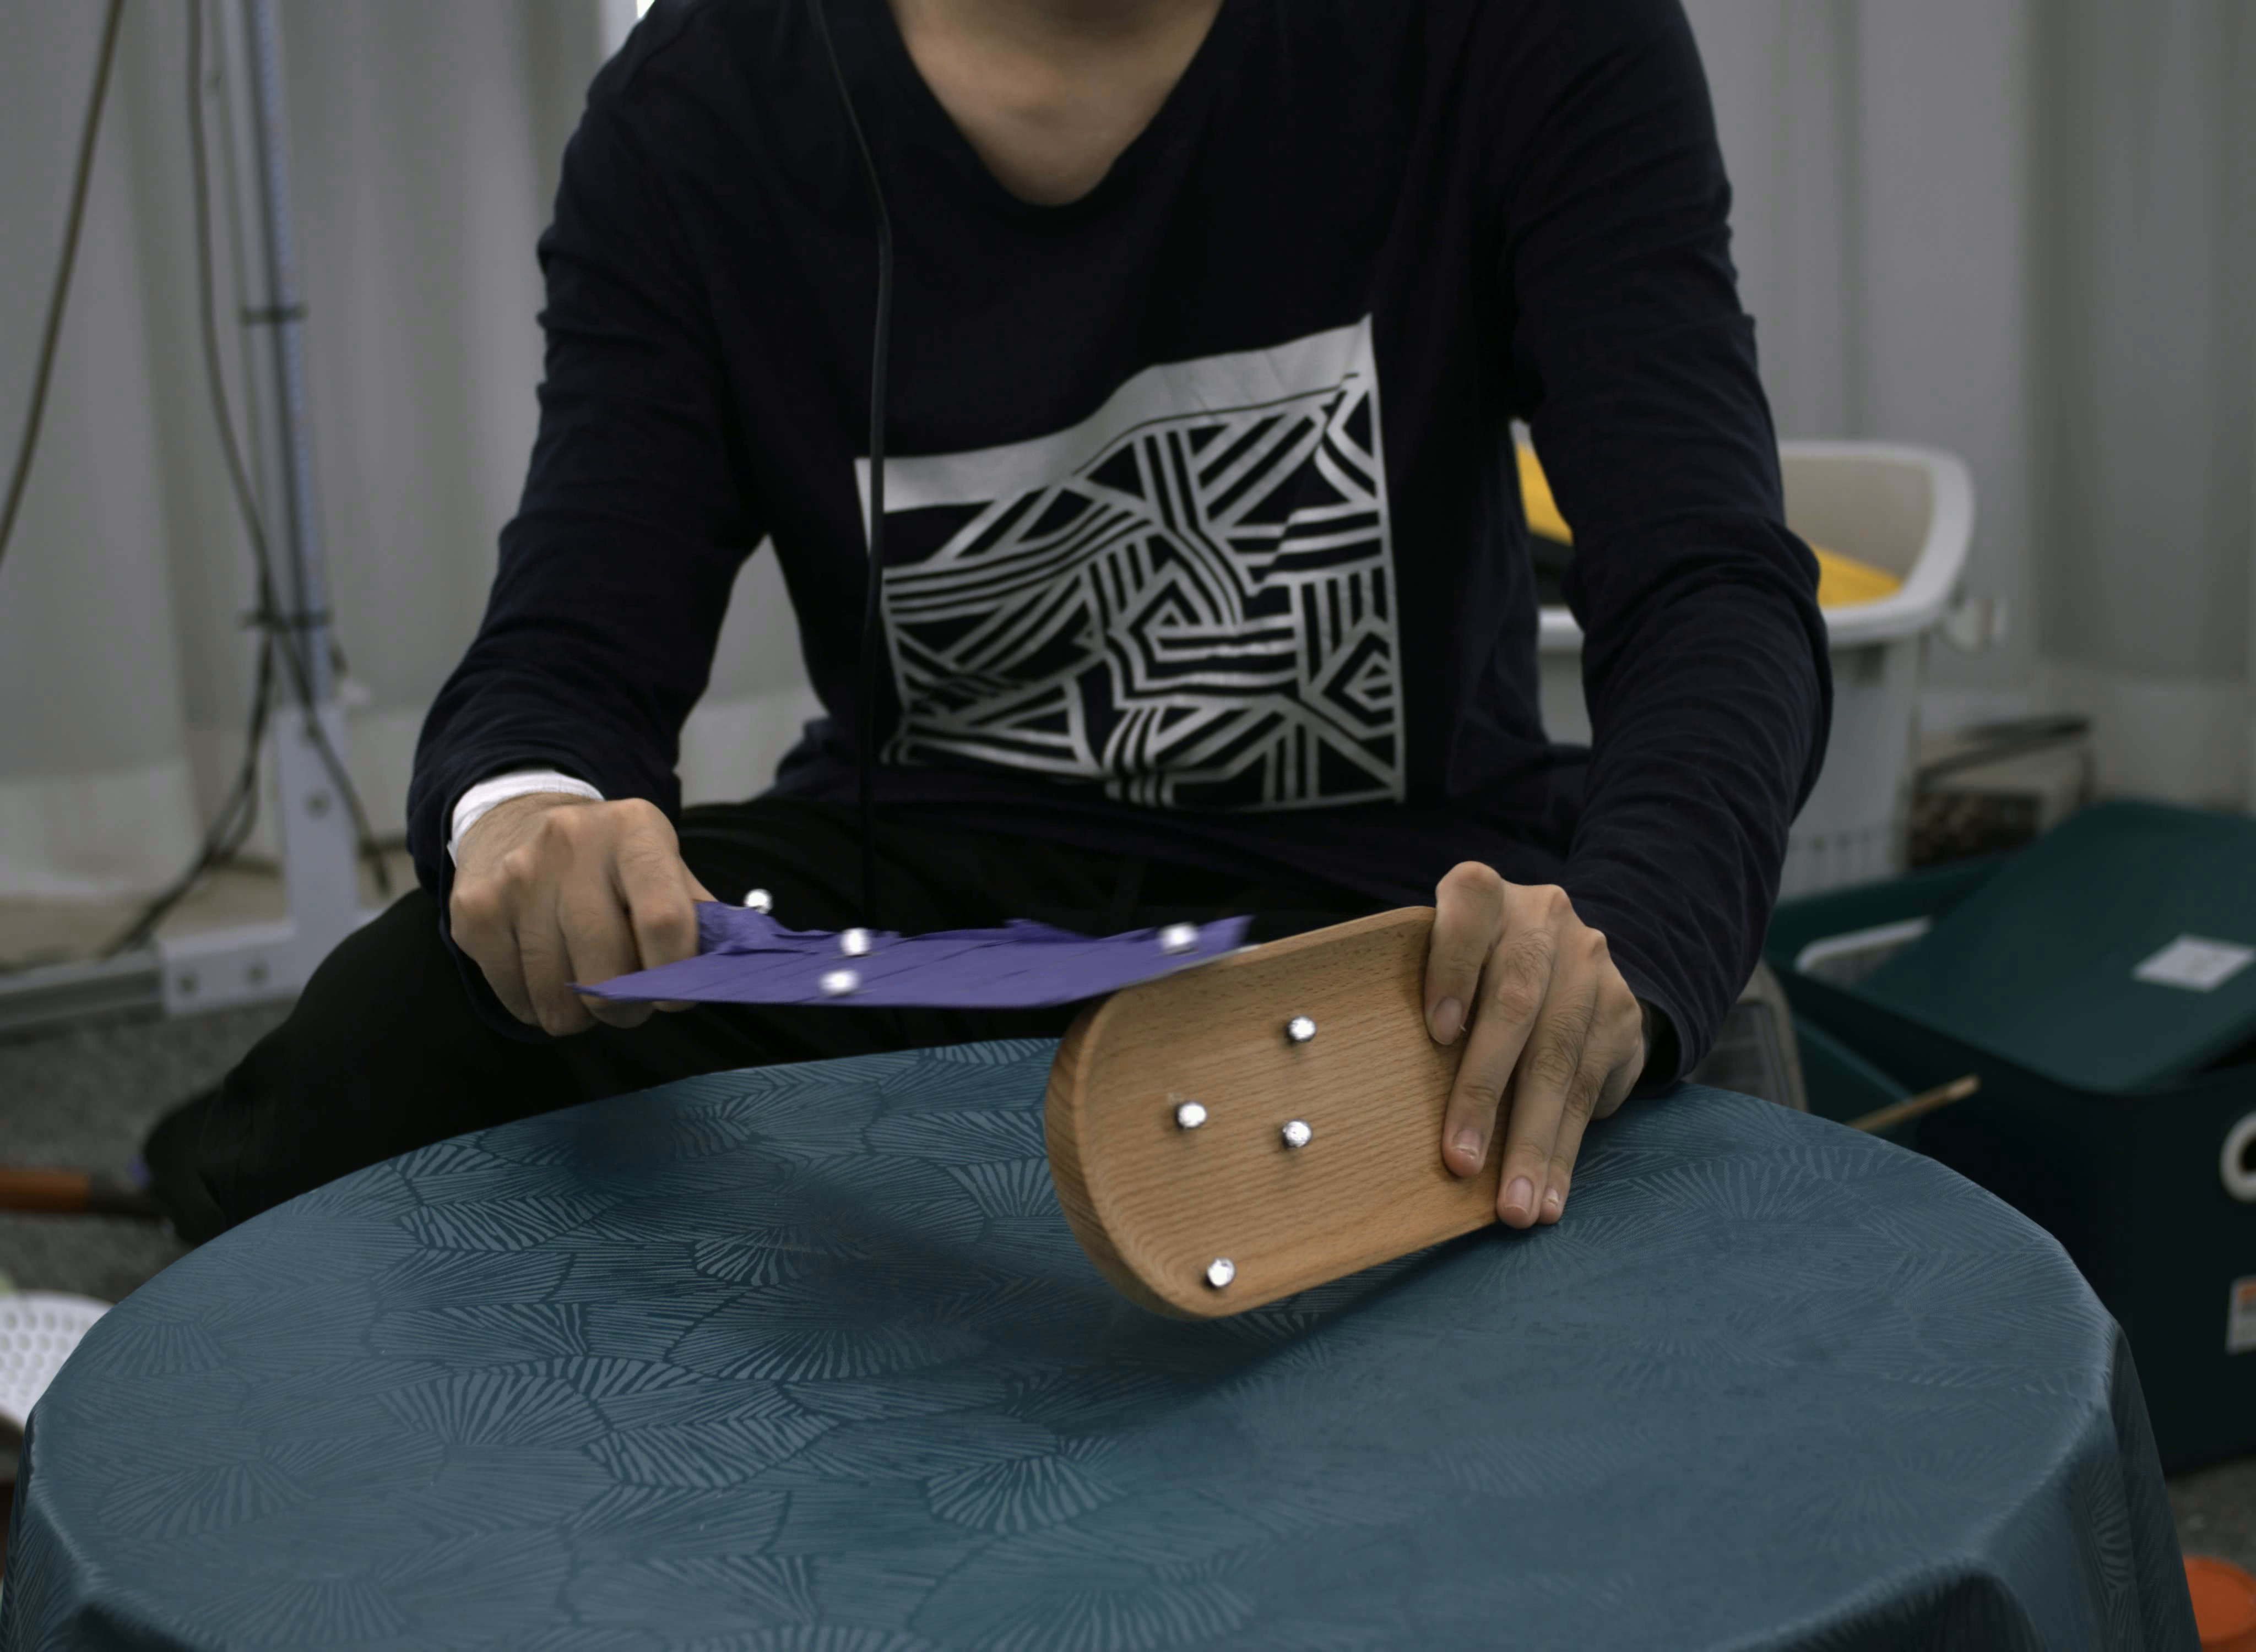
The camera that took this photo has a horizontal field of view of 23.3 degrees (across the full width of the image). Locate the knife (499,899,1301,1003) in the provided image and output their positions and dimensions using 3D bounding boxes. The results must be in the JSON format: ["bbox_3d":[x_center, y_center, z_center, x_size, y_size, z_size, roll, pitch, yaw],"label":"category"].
[{"bbox_3d":[-0.098,0.037,1.660,0.315,0.032,0.103,-4,6,41],"label":"knife"}]

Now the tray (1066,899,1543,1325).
[{"bbox_3d":[0.055,0.083,1.611,0.020,0.102,0.230,-16,-1,35],"label":"tray"}]
